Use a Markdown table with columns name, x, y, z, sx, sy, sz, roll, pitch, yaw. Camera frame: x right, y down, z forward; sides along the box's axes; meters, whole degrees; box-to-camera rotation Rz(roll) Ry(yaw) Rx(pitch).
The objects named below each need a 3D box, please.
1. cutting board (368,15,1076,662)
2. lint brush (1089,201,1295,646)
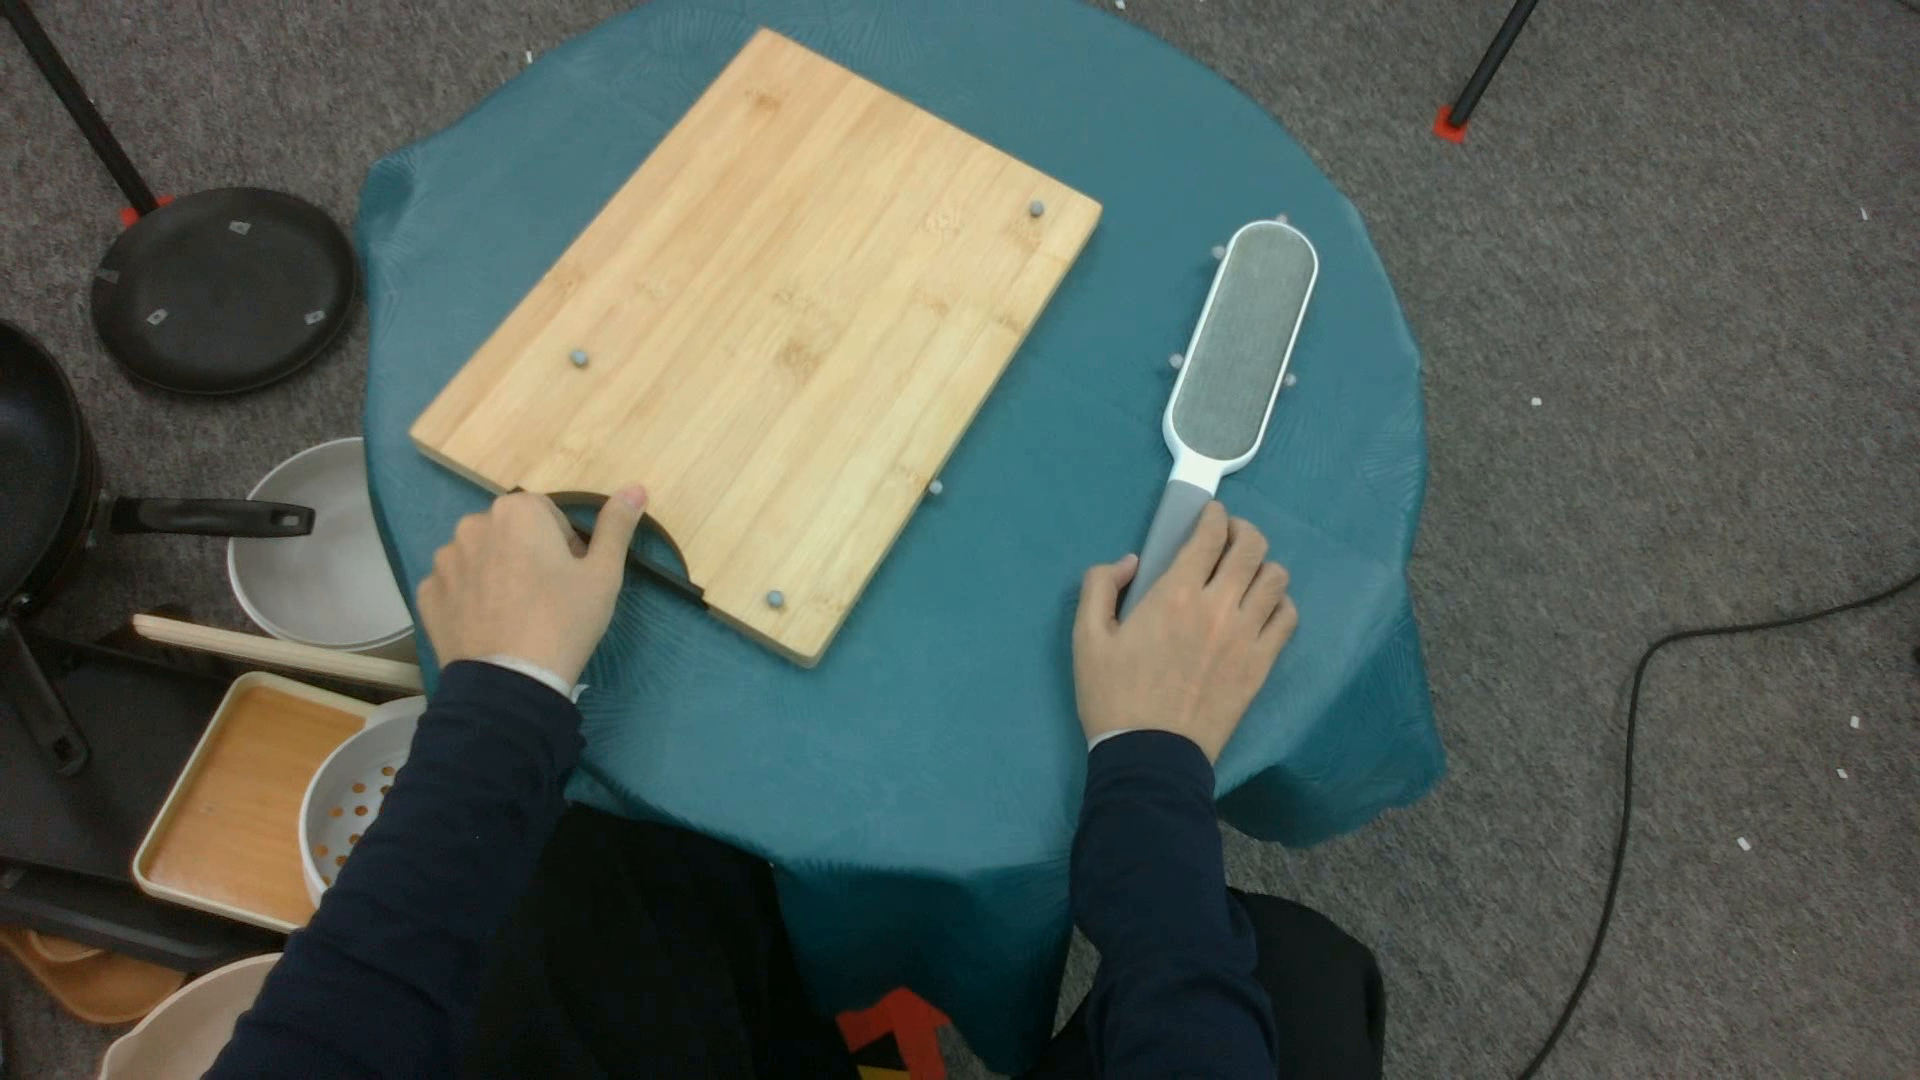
| name | x | y | z | sx | sy | sz | roll | pitch | yaw |
| --- | --- | --- | --- | --- | --- | --- | --- | --- | --- |
| cutting board | -0.115 | -0.130 | 0.771 | 0.251 | 0.023 | 0.350 | 28 | 64 | 5 |
| lint brush | 0.129 | -0.076 | 0.778 | 0.060 | 0.021 | 0.310 | 25 | 64 | -3 |
